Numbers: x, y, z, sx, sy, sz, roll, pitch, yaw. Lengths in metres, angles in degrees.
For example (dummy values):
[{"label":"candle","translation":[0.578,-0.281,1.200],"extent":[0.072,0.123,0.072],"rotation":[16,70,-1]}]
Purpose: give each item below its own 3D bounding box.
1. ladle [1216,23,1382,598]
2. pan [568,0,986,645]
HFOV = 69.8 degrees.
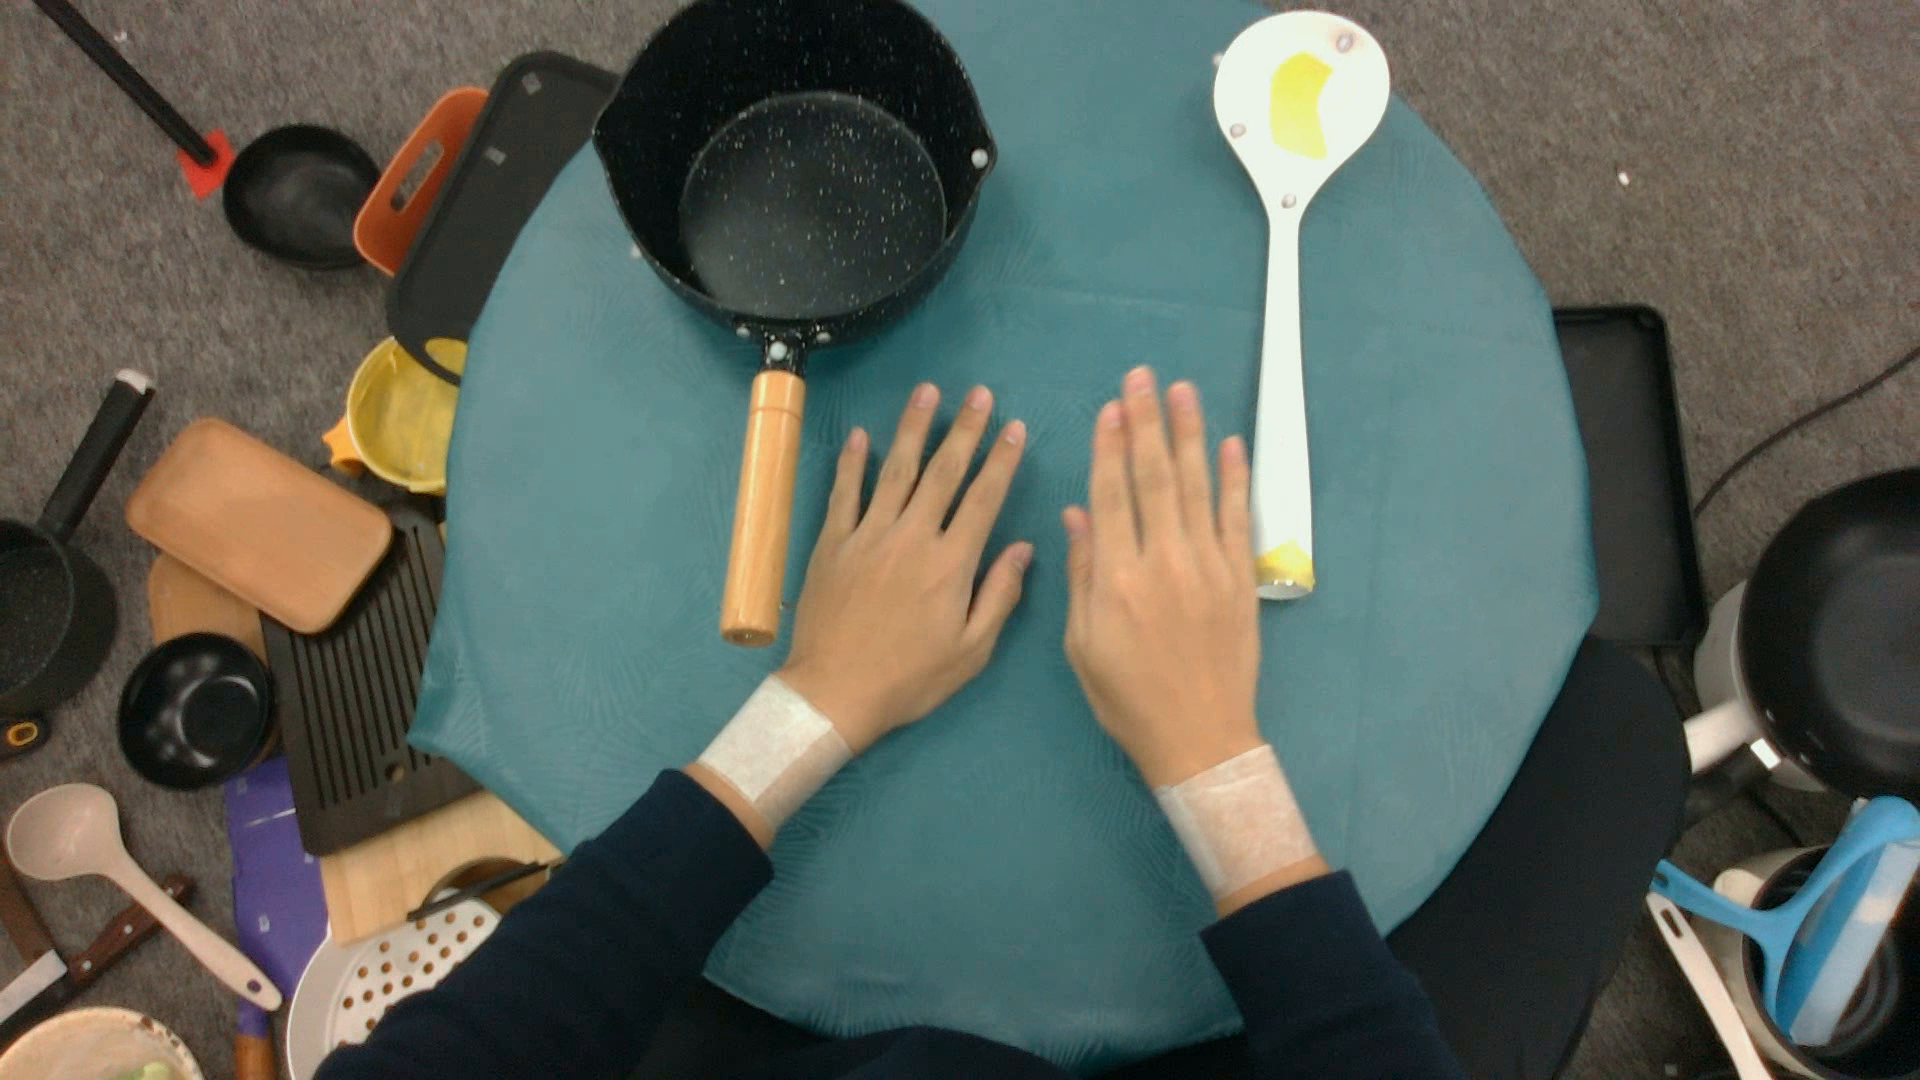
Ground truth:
[{"label":"ladle","translation":[0.169,-0.119,0.717],"extent":[0.090,0.070,0.293],"rotation":[6,78,-5]},{"label":"pan","translation":[-0.093,-0.110,0.691],"extent":[0.207,0.108,0.343],"rotation":[2,75,-1]}]
